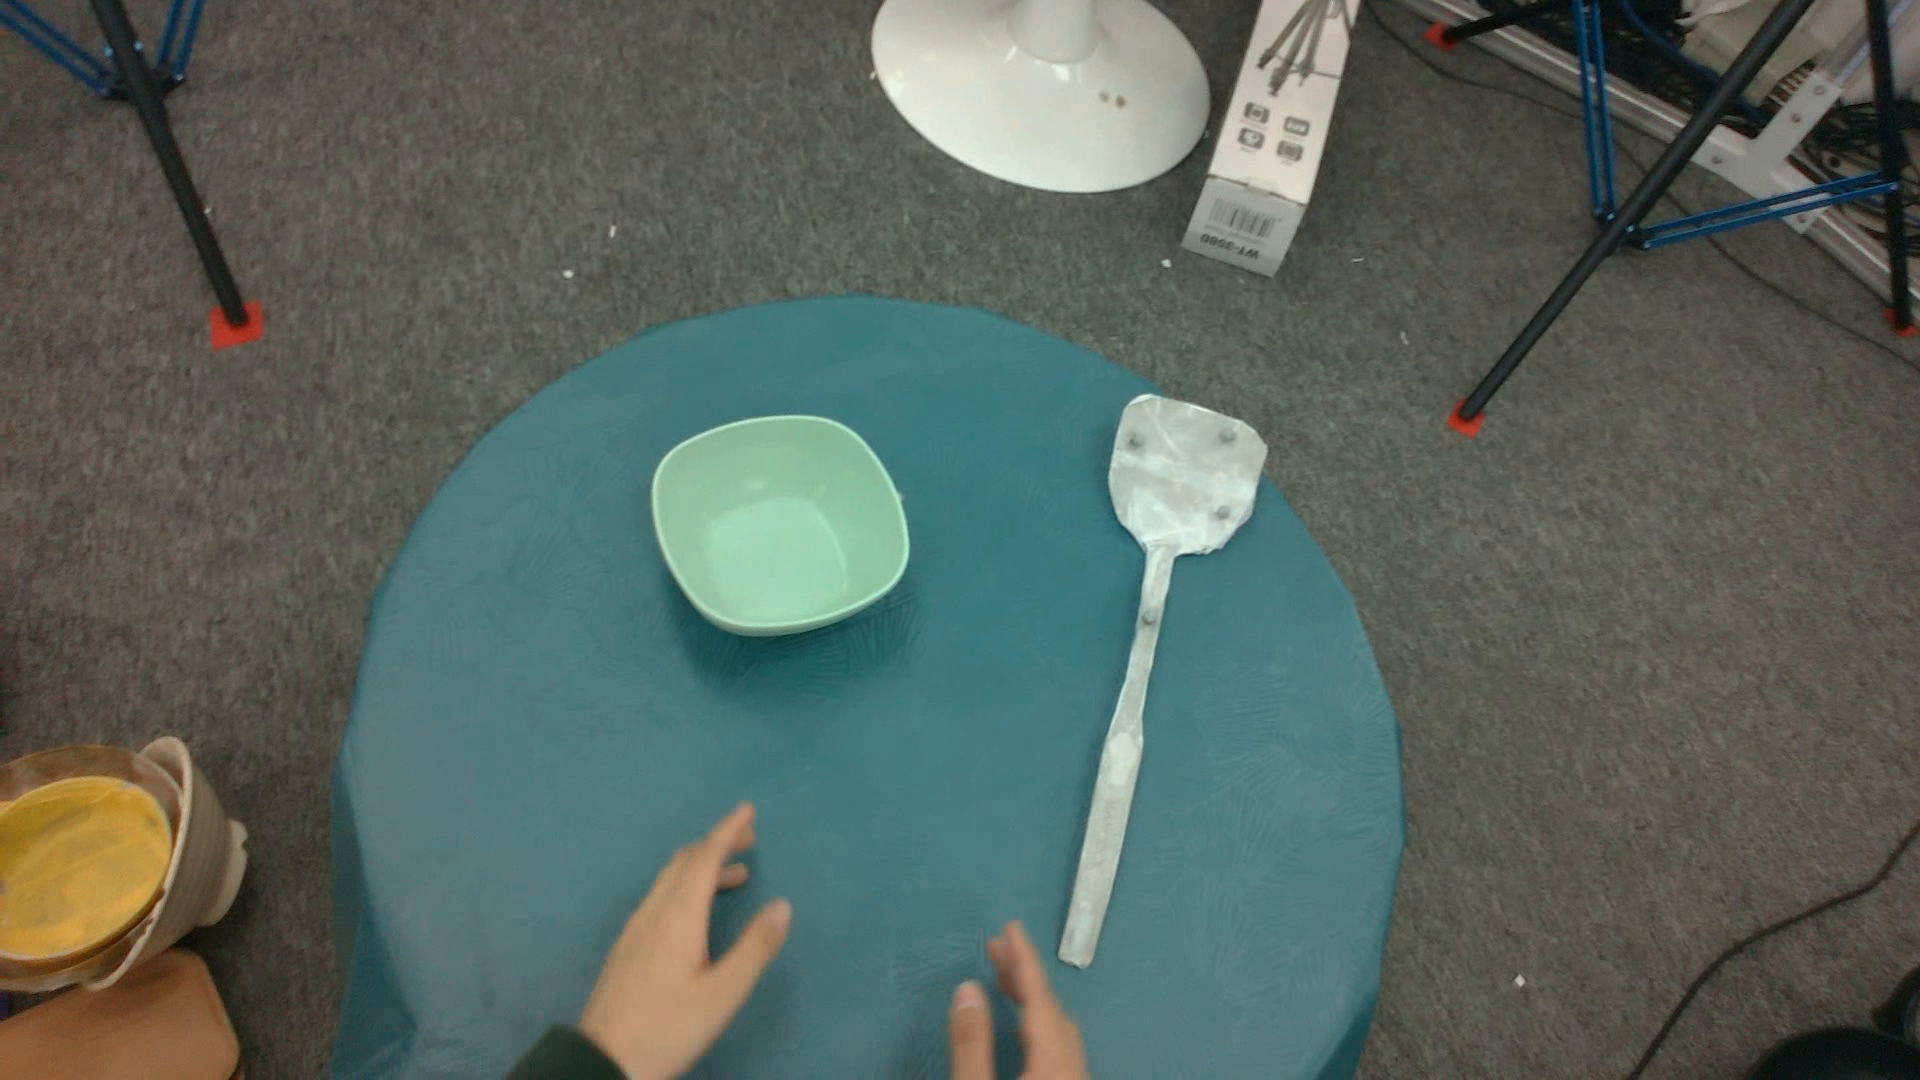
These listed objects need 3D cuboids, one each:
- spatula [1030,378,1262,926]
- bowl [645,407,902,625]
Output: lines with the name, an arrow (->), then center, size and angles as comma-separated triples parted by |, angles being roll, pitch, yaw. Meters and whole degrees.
spatula -> 0.102, 0.055, 0.817 | 0.099, 0.044, 0.366 | 21, 56, -2
bowl -> -0.110, -0.005, 0.796 | 0.151, 0.058, 0.152 | 6, 55, -9
